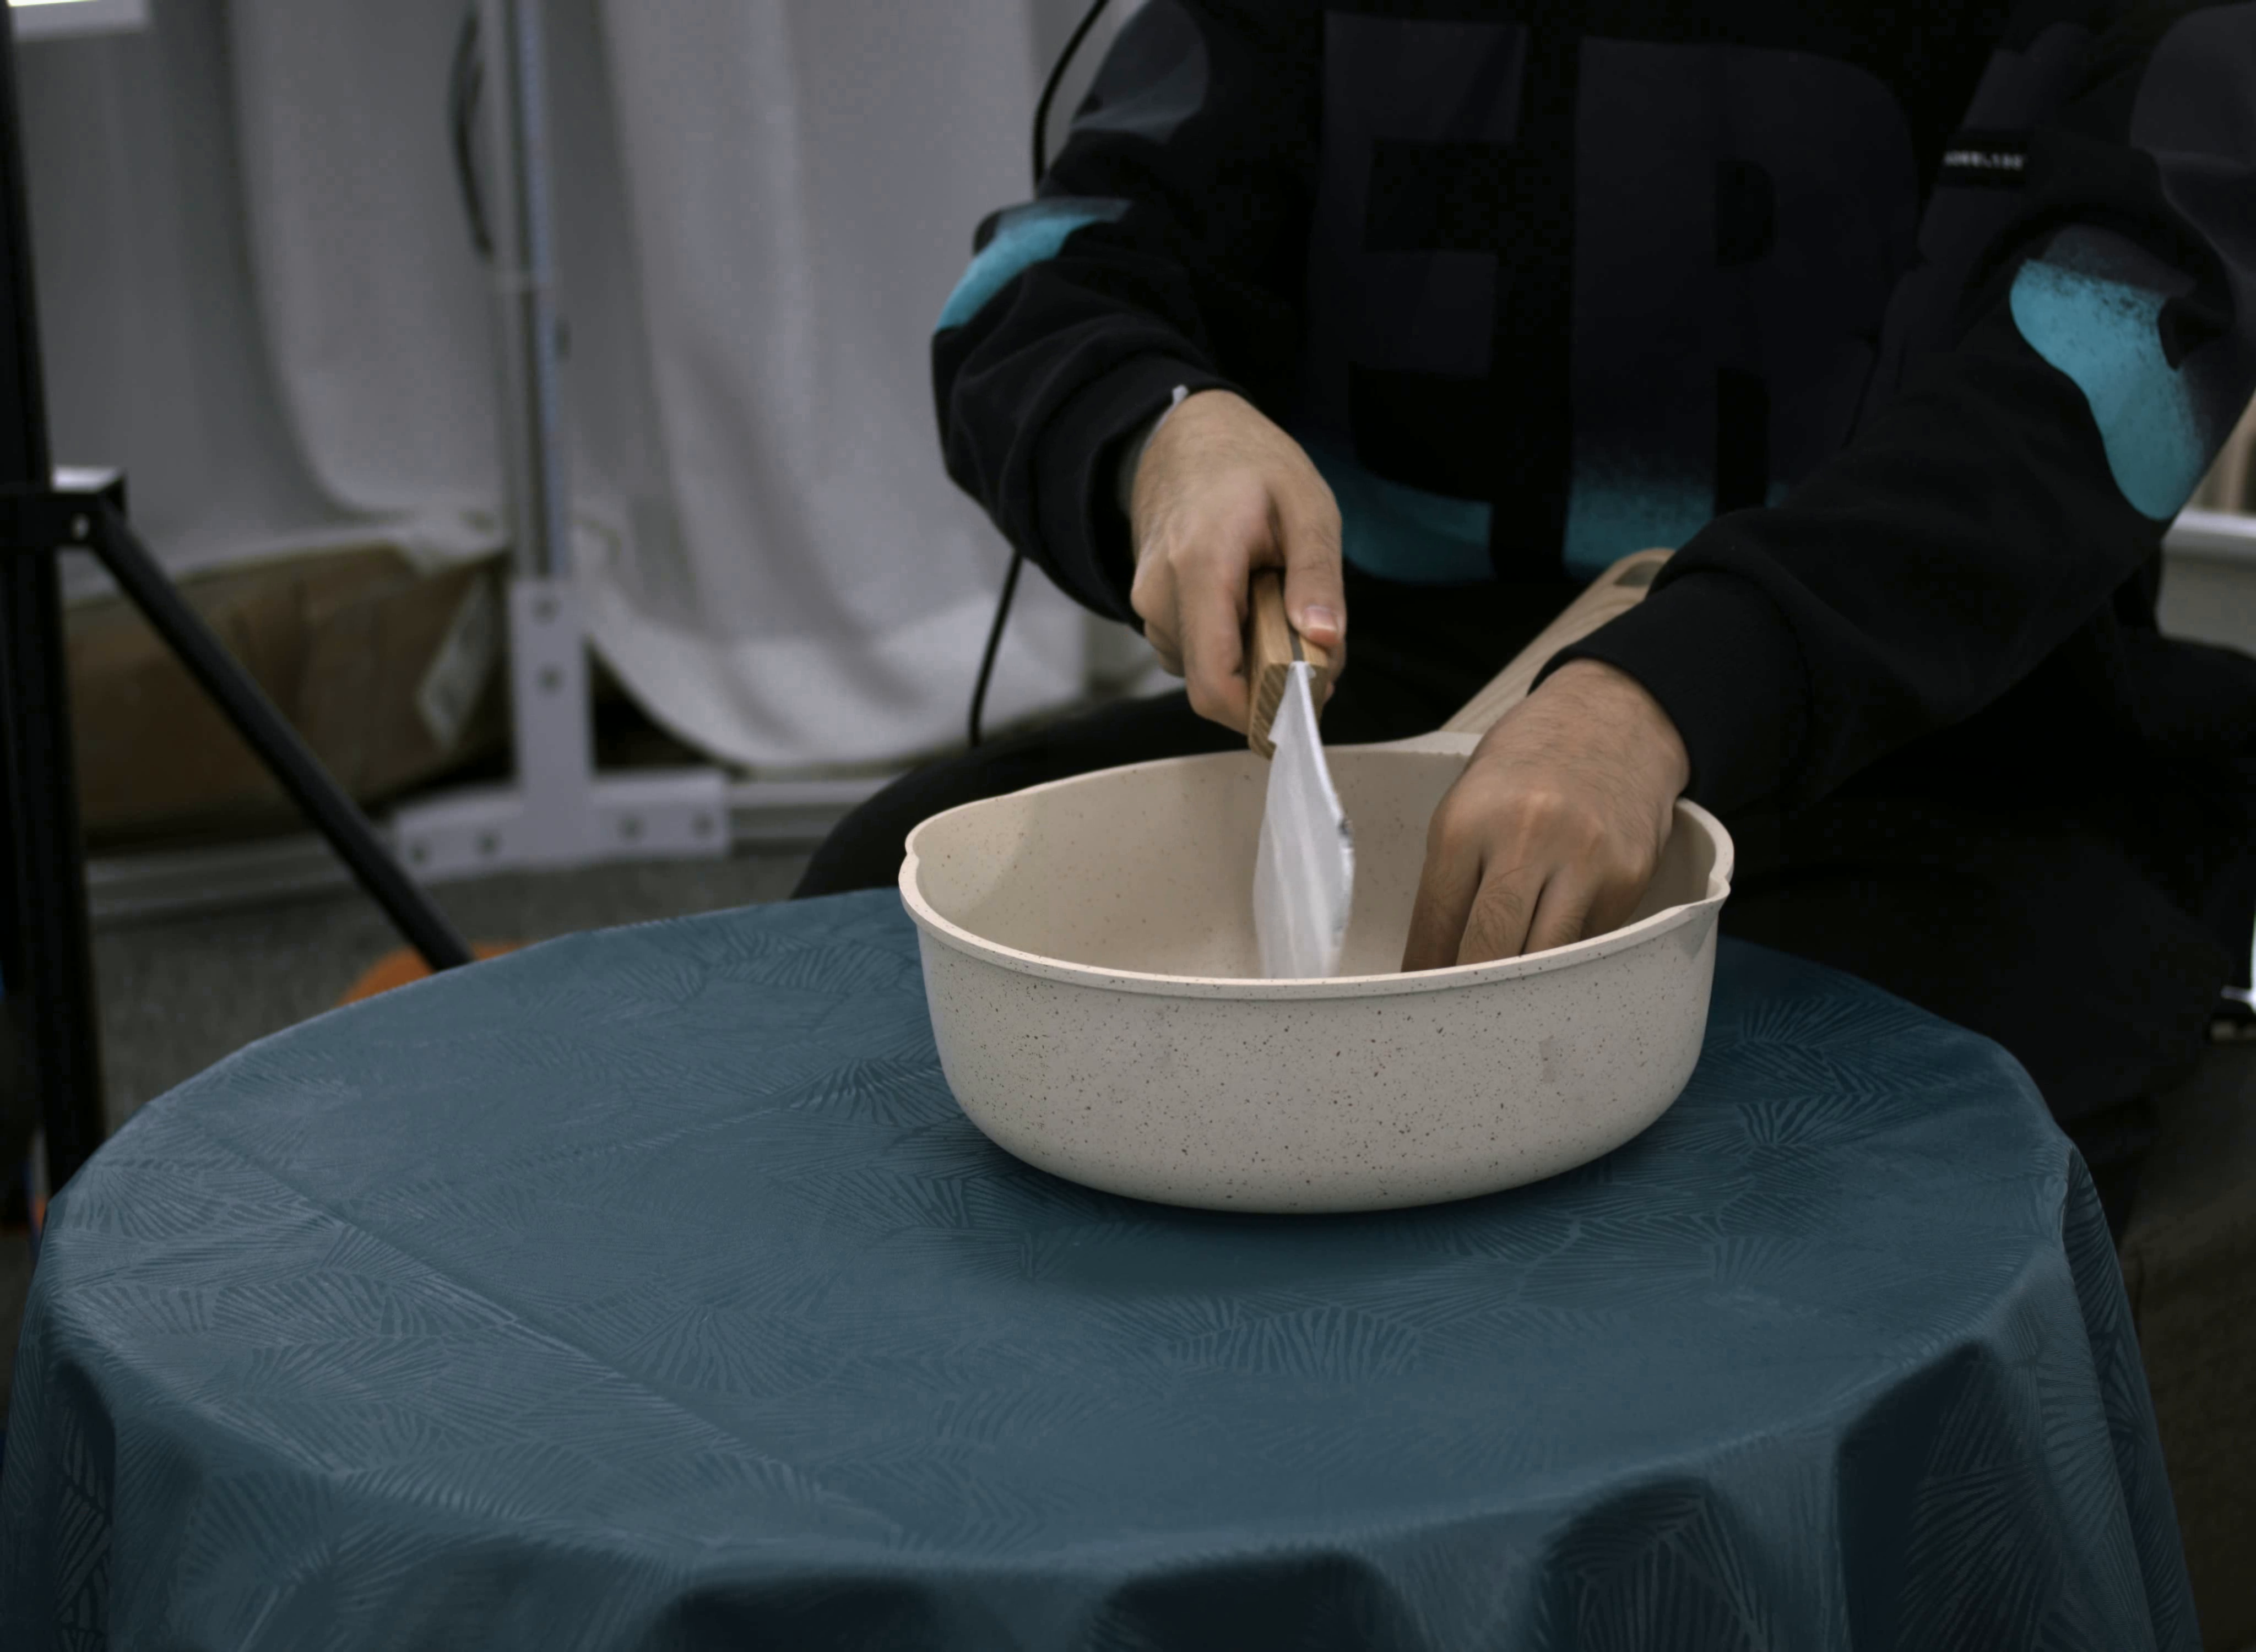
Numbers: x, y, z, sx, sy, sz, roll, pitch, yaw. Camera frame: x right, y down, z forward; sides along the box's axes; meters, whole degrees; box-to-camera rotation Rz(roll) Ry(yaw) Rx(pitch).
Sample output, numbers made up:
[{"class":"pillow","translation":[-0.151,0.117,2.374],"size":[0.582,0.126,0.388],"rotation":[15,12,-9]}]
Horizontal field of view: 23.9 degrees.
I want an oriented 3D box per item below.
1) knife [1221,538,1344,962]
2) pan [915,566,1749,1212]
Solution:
[{"class":"knife","translation":[0.048,-0.011,1.648],"size":[0.021,0.114,0.318],"rotation":[8,28,-6]},{"class":"pan","translation":[0.099,0.016,1.683],"size":[0.267,0.102,0.428],"rotation":[2,17,25]}]
